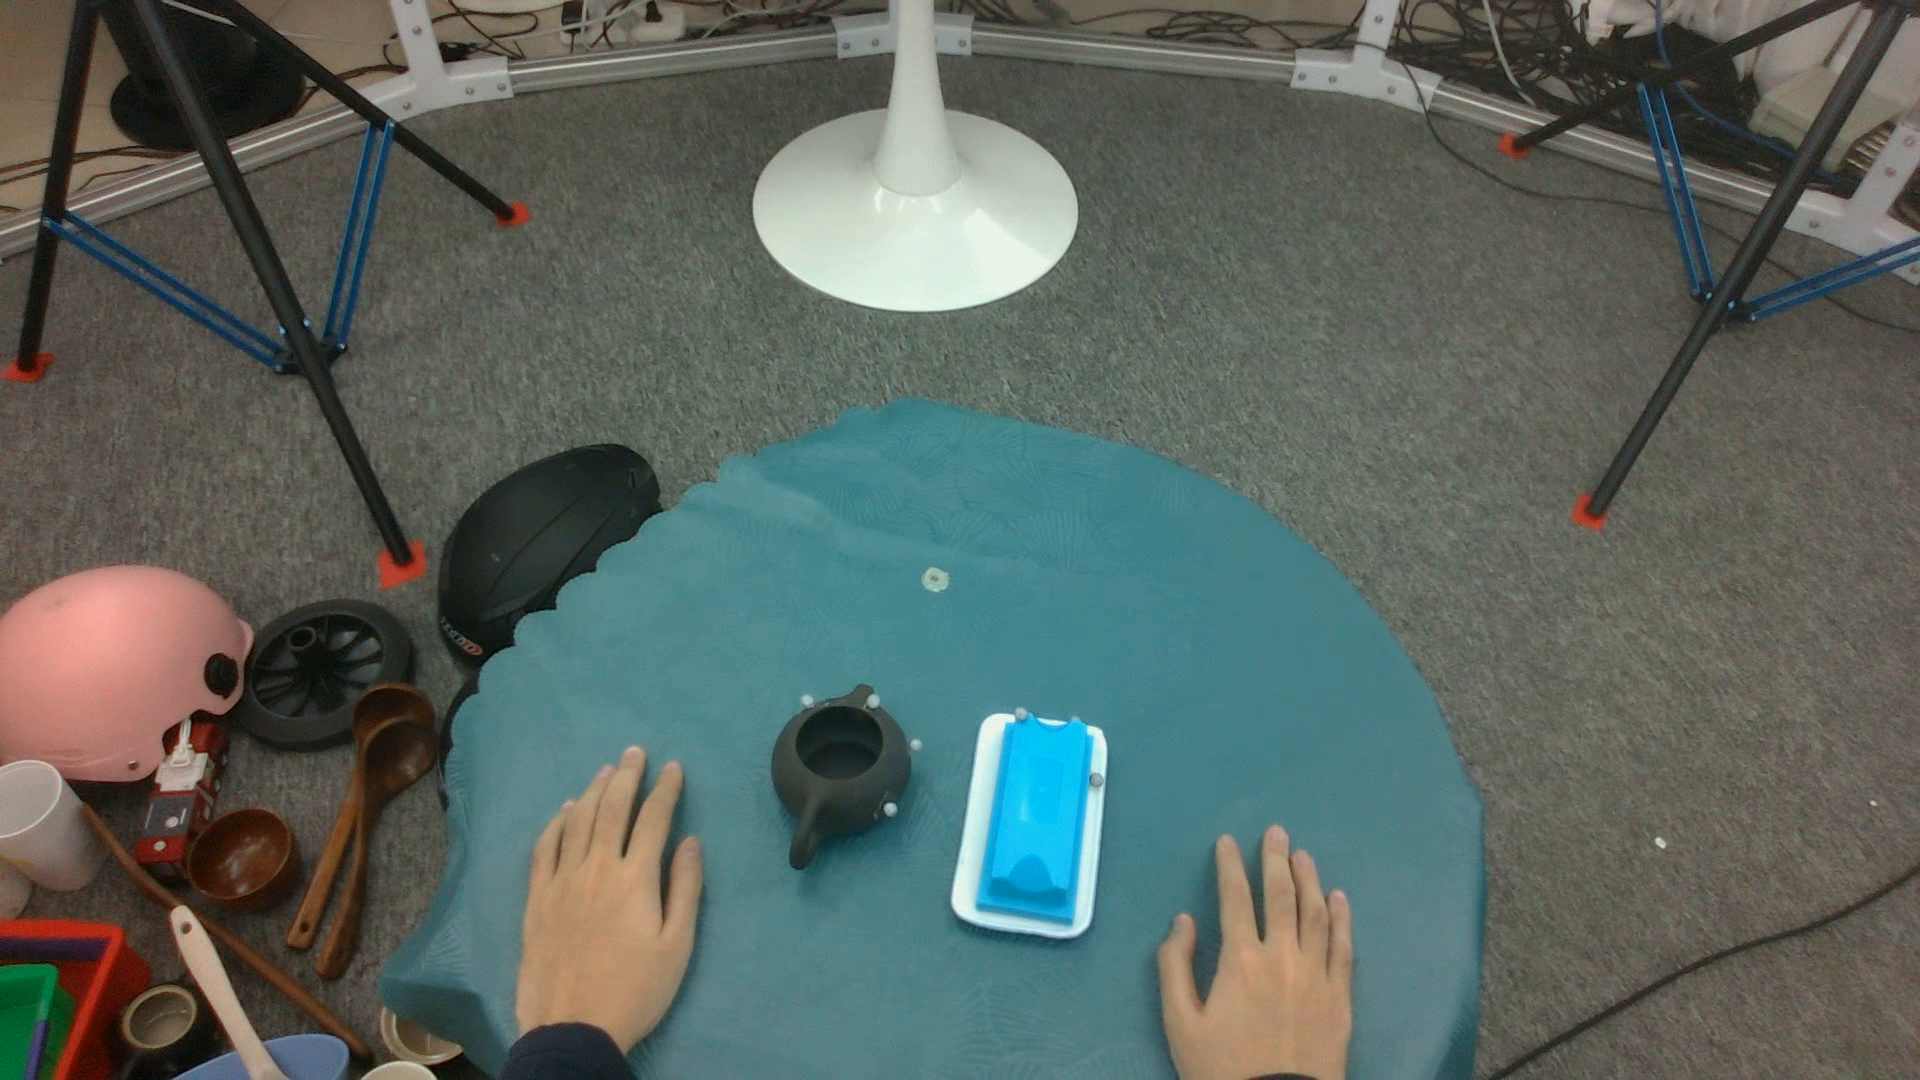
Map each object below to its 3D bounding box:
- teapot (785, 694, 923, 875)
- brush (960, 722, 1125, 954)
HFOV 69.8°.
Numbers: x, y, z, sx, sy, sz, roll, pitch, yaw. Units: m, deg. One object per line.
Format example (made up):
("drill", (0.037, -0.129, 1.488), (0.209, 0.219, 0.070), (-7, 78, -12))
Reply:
("teapot", (-0.068, 0.147, 0.819), (0.083, 0.053, 0.114), (16, 49, 16))
("brush", (0.050, 0.165, 0.800), (0.084, 0.055, 0.144), (7, 48, 9))
